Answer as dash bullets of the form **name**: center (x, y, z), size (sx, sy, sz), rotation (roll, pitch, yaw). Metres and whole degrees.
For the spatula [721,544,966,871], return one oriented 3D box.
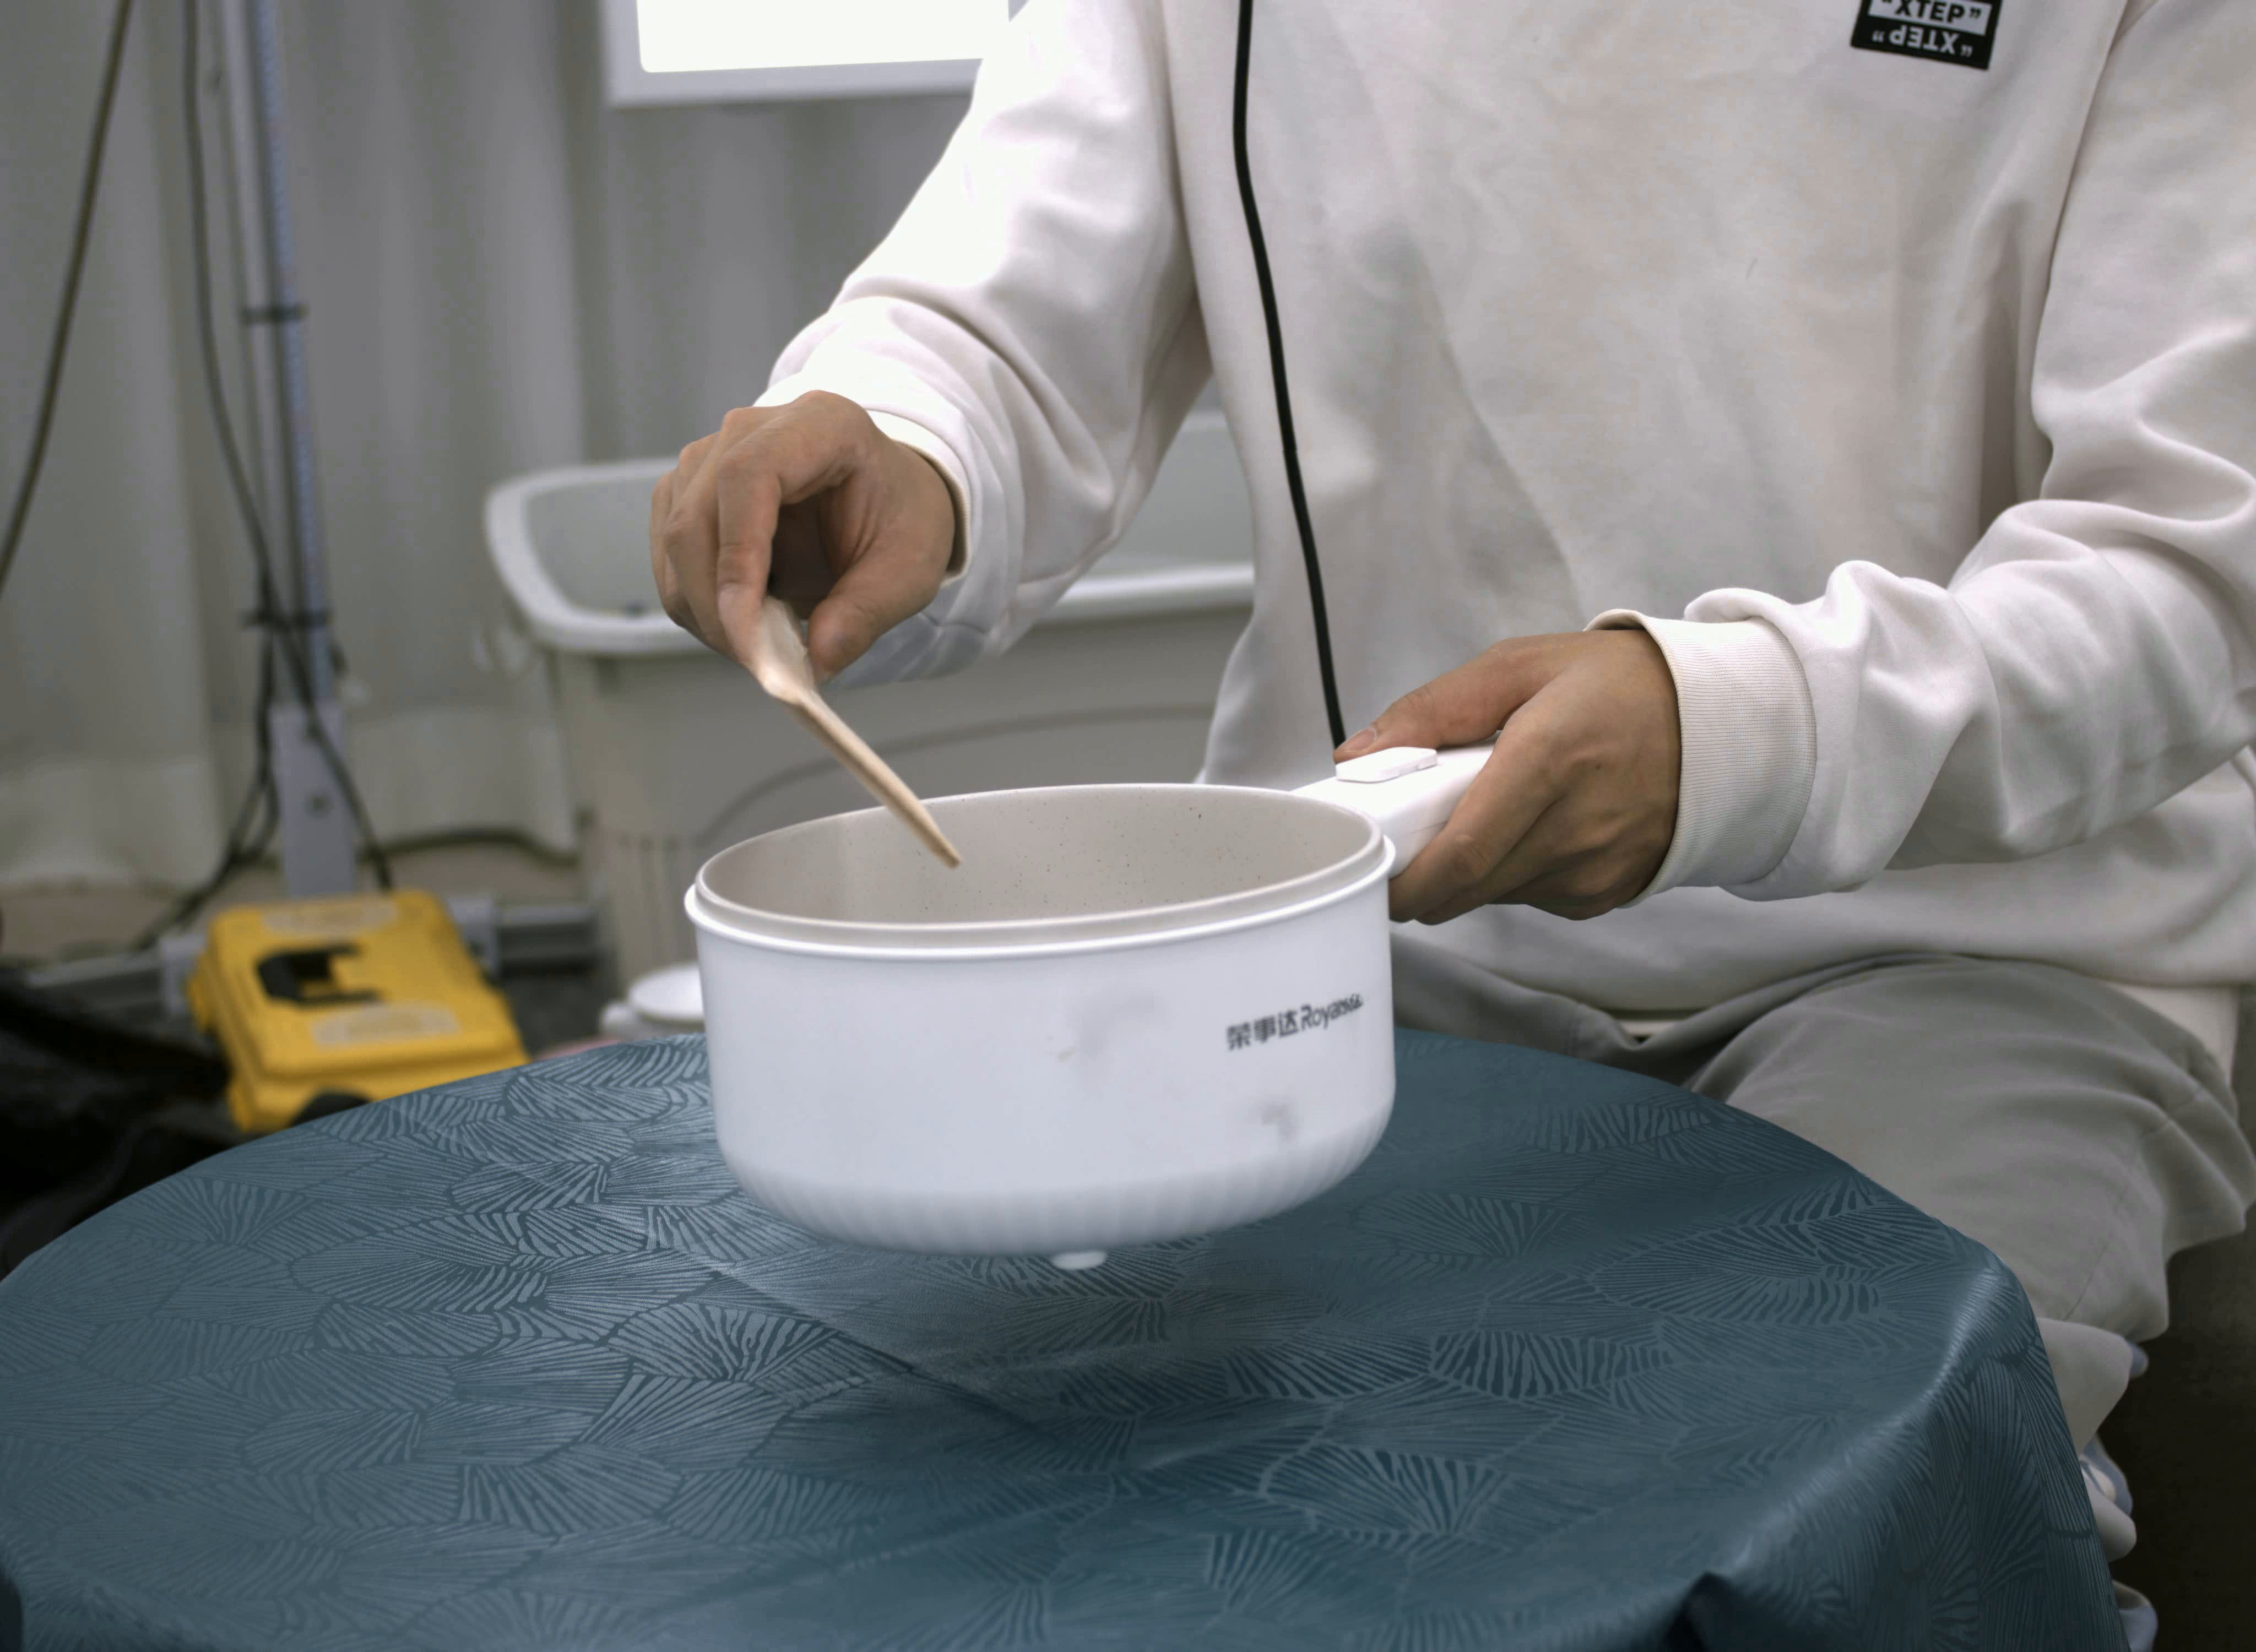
- **spatula**: center (-0.097, -0.047, 1.642), size (0.010, 0.072, 0.295), rotation (-44, 18, 3)

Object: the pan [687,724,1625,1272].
- **pan**: center (0.028, 0.045, 1.608), size (0.202, 0.102, 0.354), rotation (3, 12, 41)
